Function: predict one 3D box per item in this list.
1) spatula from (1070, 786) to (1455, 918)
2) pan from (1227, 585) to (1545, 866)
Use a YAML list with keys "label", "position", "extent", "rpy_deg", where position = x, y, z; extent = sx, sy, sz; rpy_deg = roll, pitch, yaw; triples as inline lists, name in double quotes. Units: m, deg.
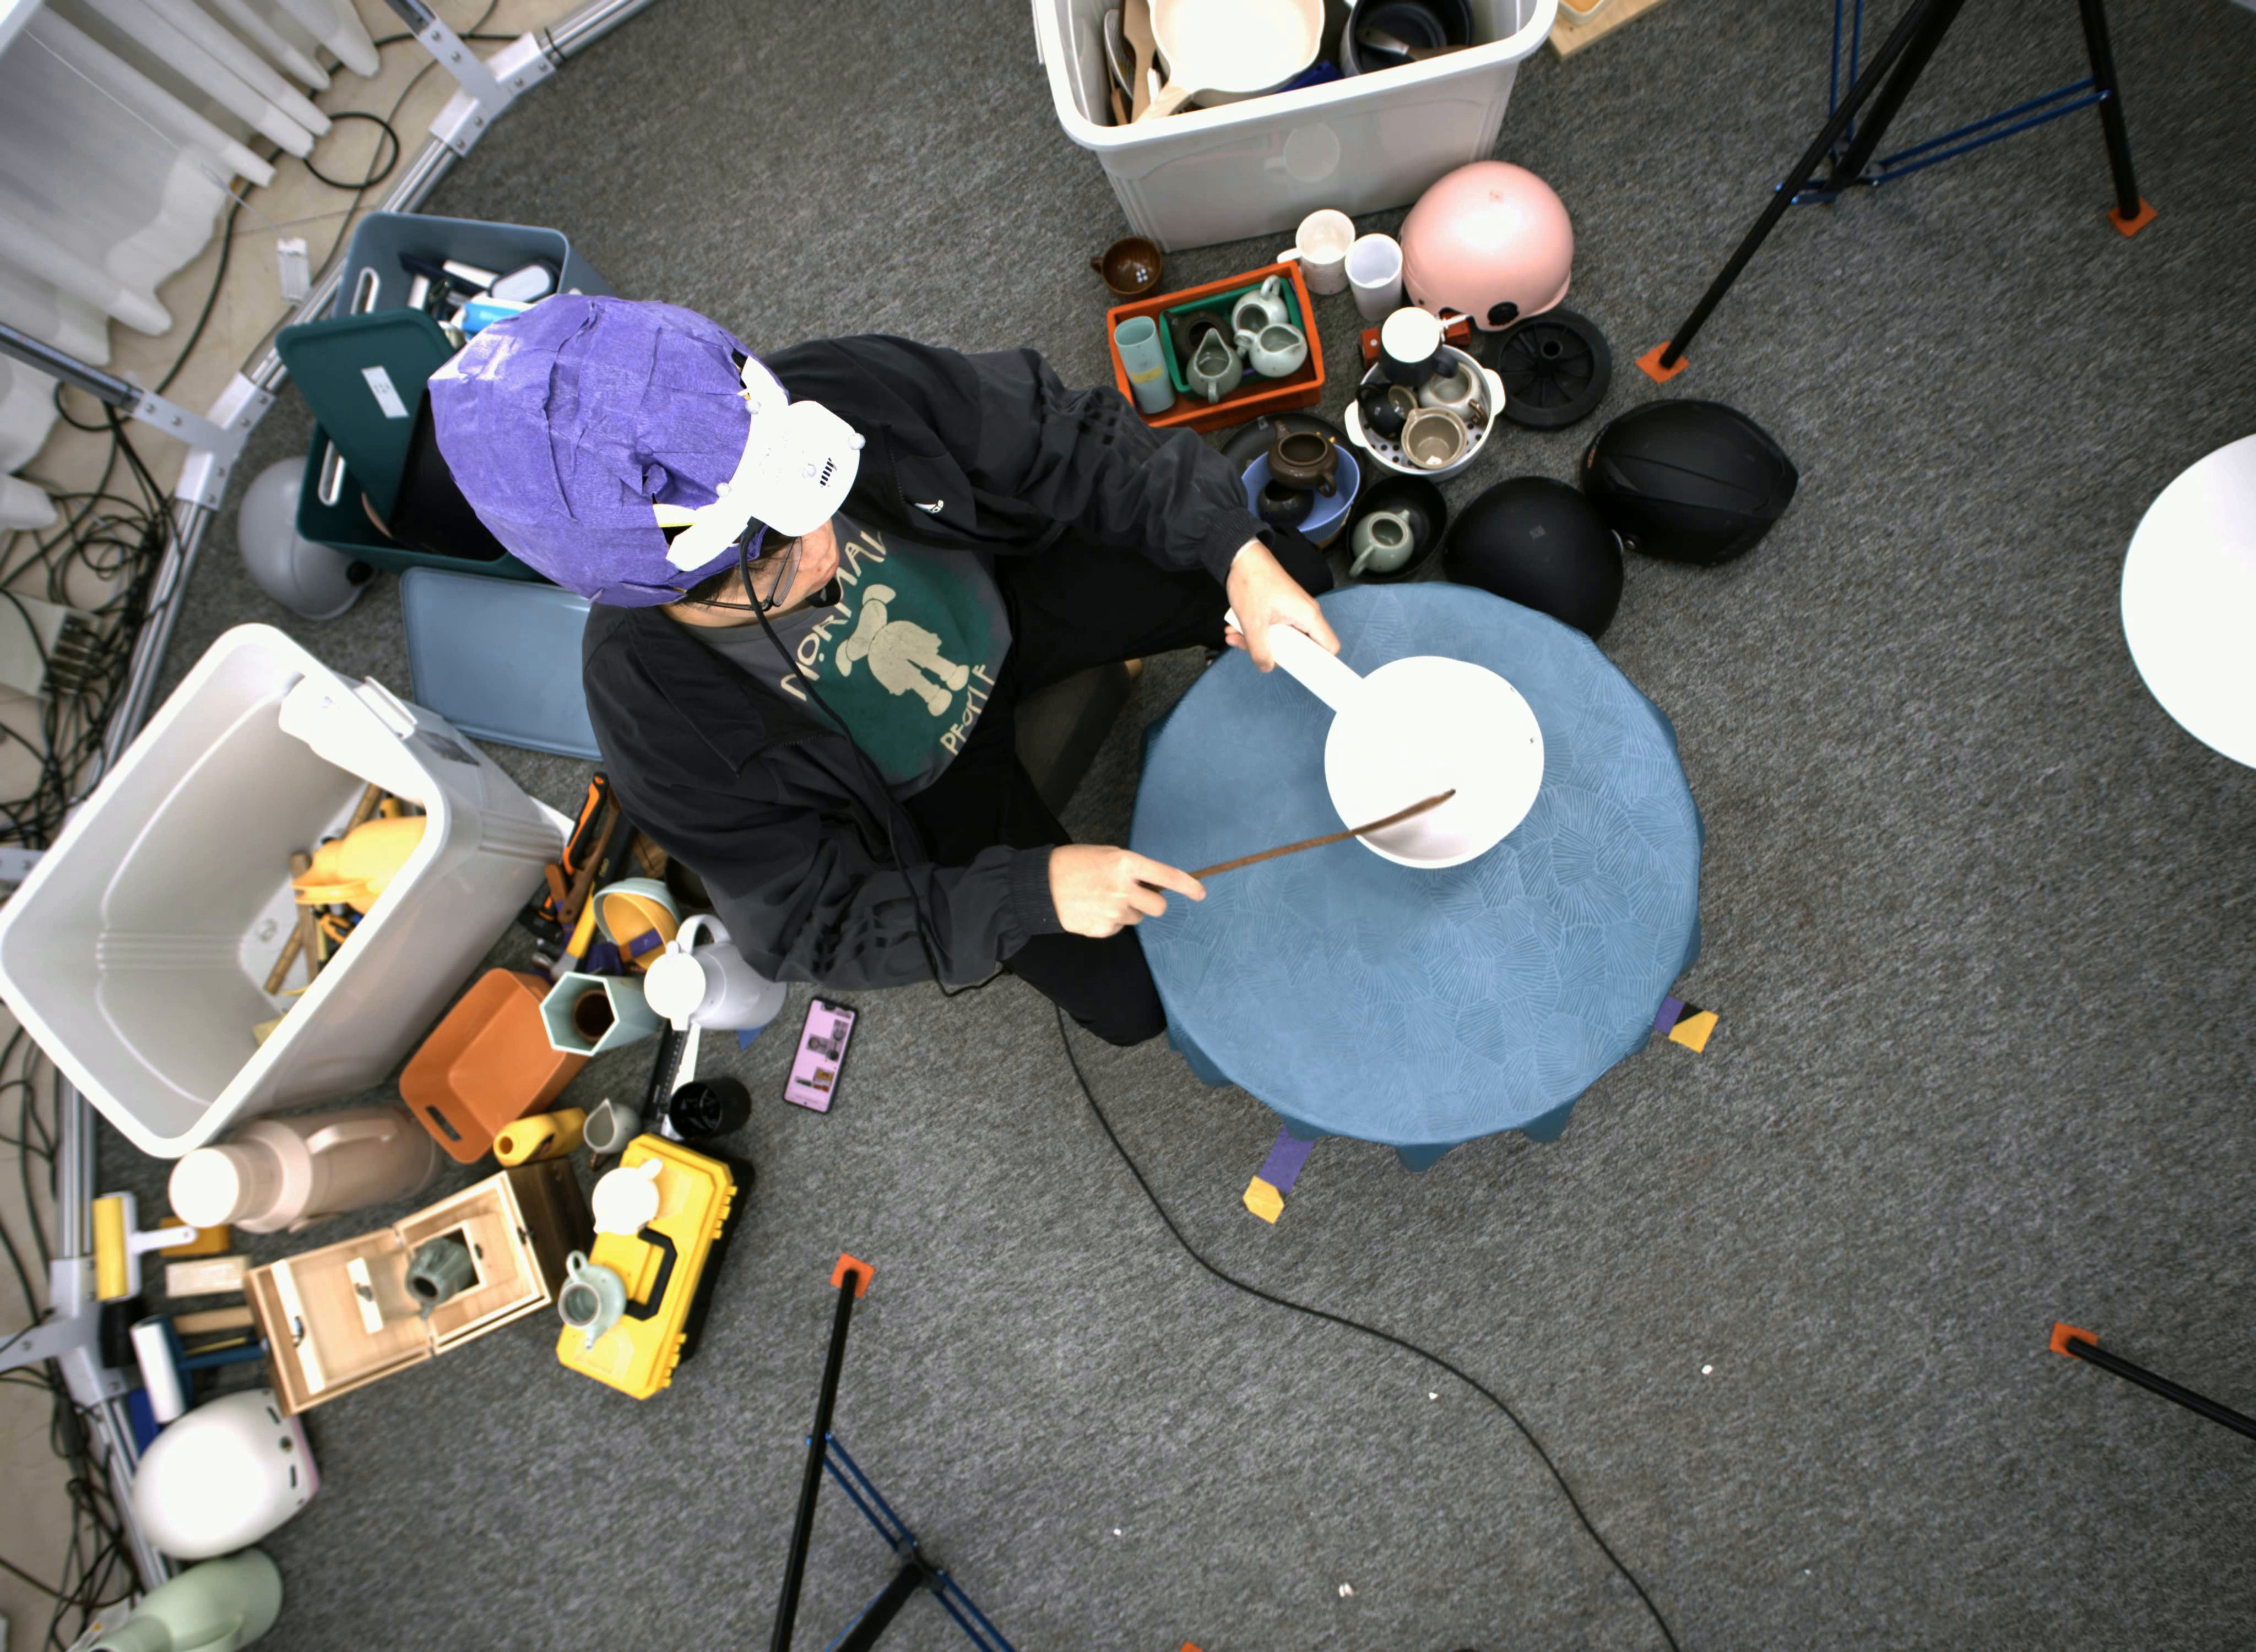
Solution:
- label: "spatula"
  position: [0.127, 0.024, 1.324]
  extent: [0.387, 0.096, 0.016]
  rpy_deg: [-17, 87, 3]
- label: "pan"
  position: [0.251, -0.116, 1.363]
  extent: [0.352, 0.101, 0.205]
  rpy_deg: [43, 117, 18]
